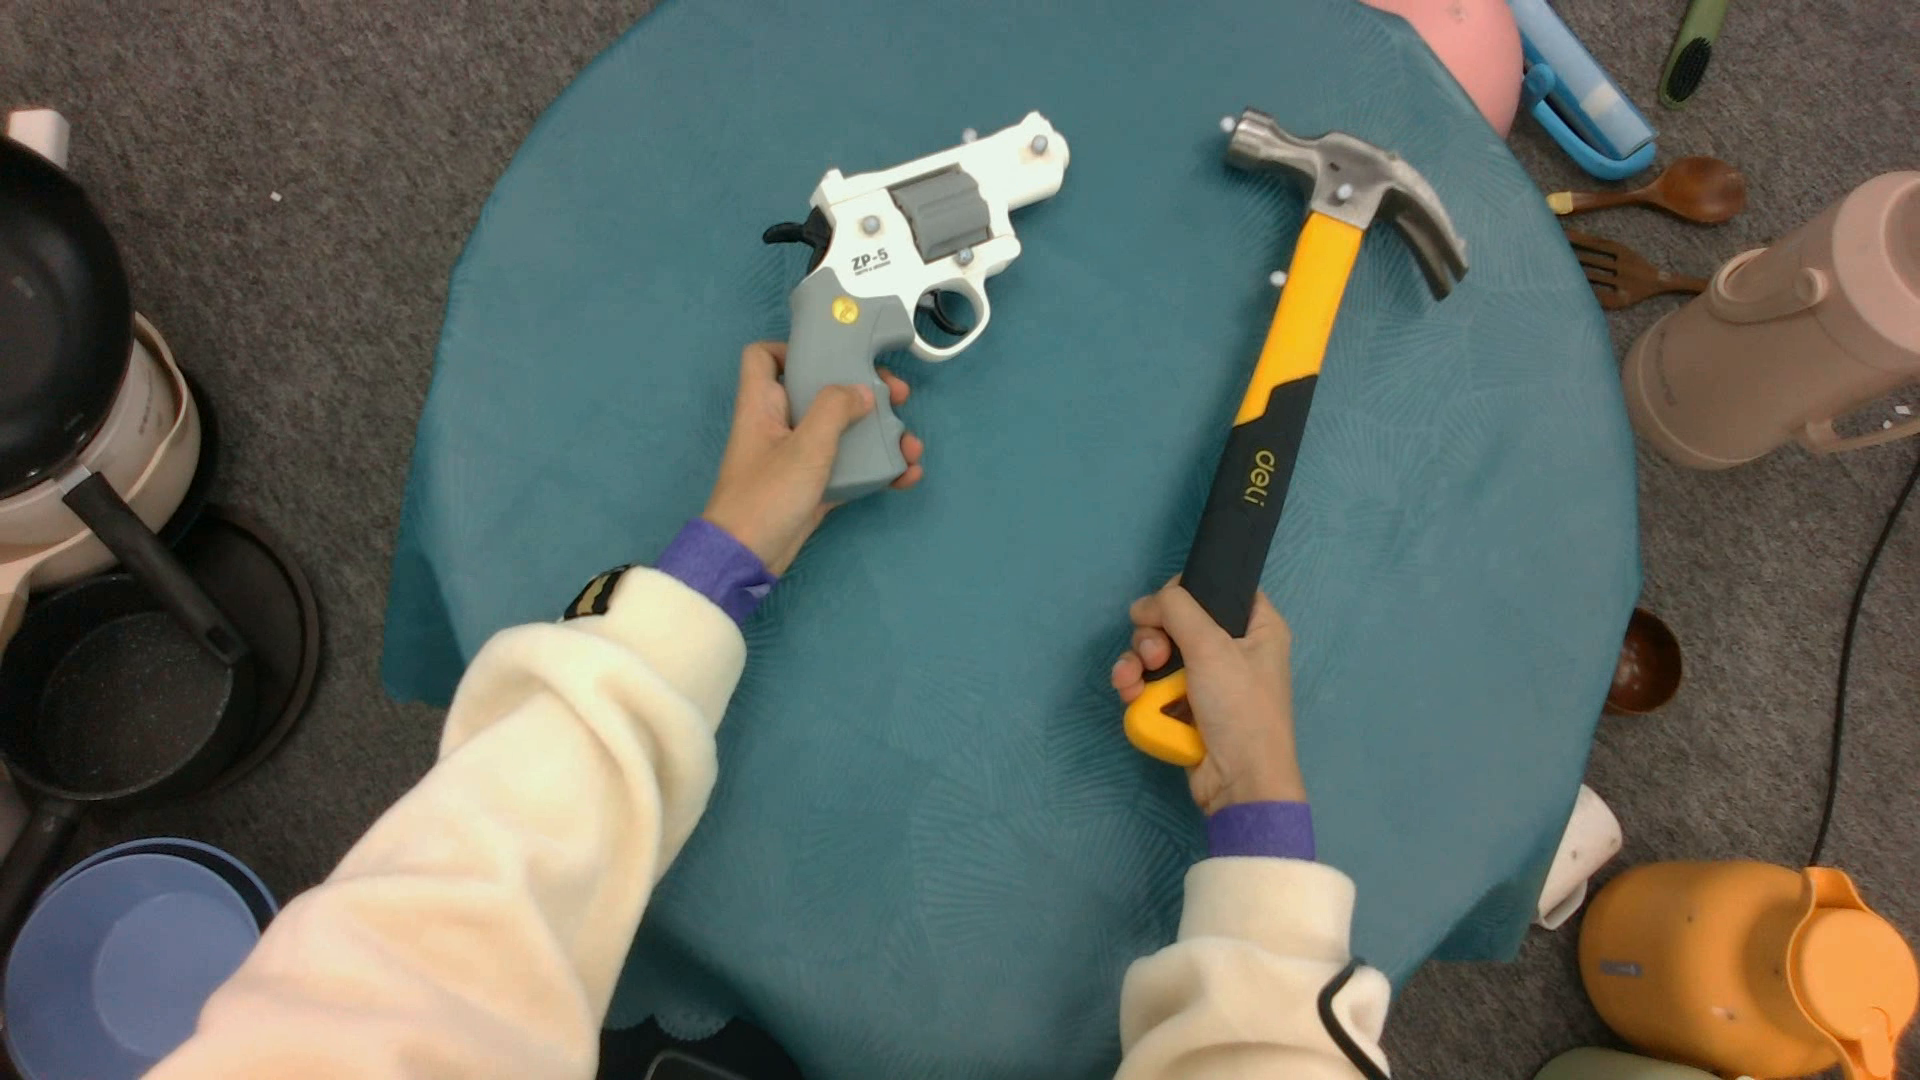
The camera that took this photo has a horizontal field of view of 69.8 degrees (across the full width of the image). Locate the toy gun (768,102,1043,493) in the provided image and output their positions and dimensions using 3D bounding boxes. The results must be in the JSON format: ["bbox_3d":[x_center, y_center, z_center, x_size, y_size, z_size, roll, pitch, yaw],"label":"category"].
[{"bbox_3d":[-0.021,-0.121,0.656,0.210,0.038,0.141,-29,87,-26],"label":"toy gun"}]

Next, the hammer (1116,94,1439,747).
[{"bbox_3d":[0.140,-0.061,0.655,0.131,0.032,0.340,22,67,-3],"label":"hammer"}]
